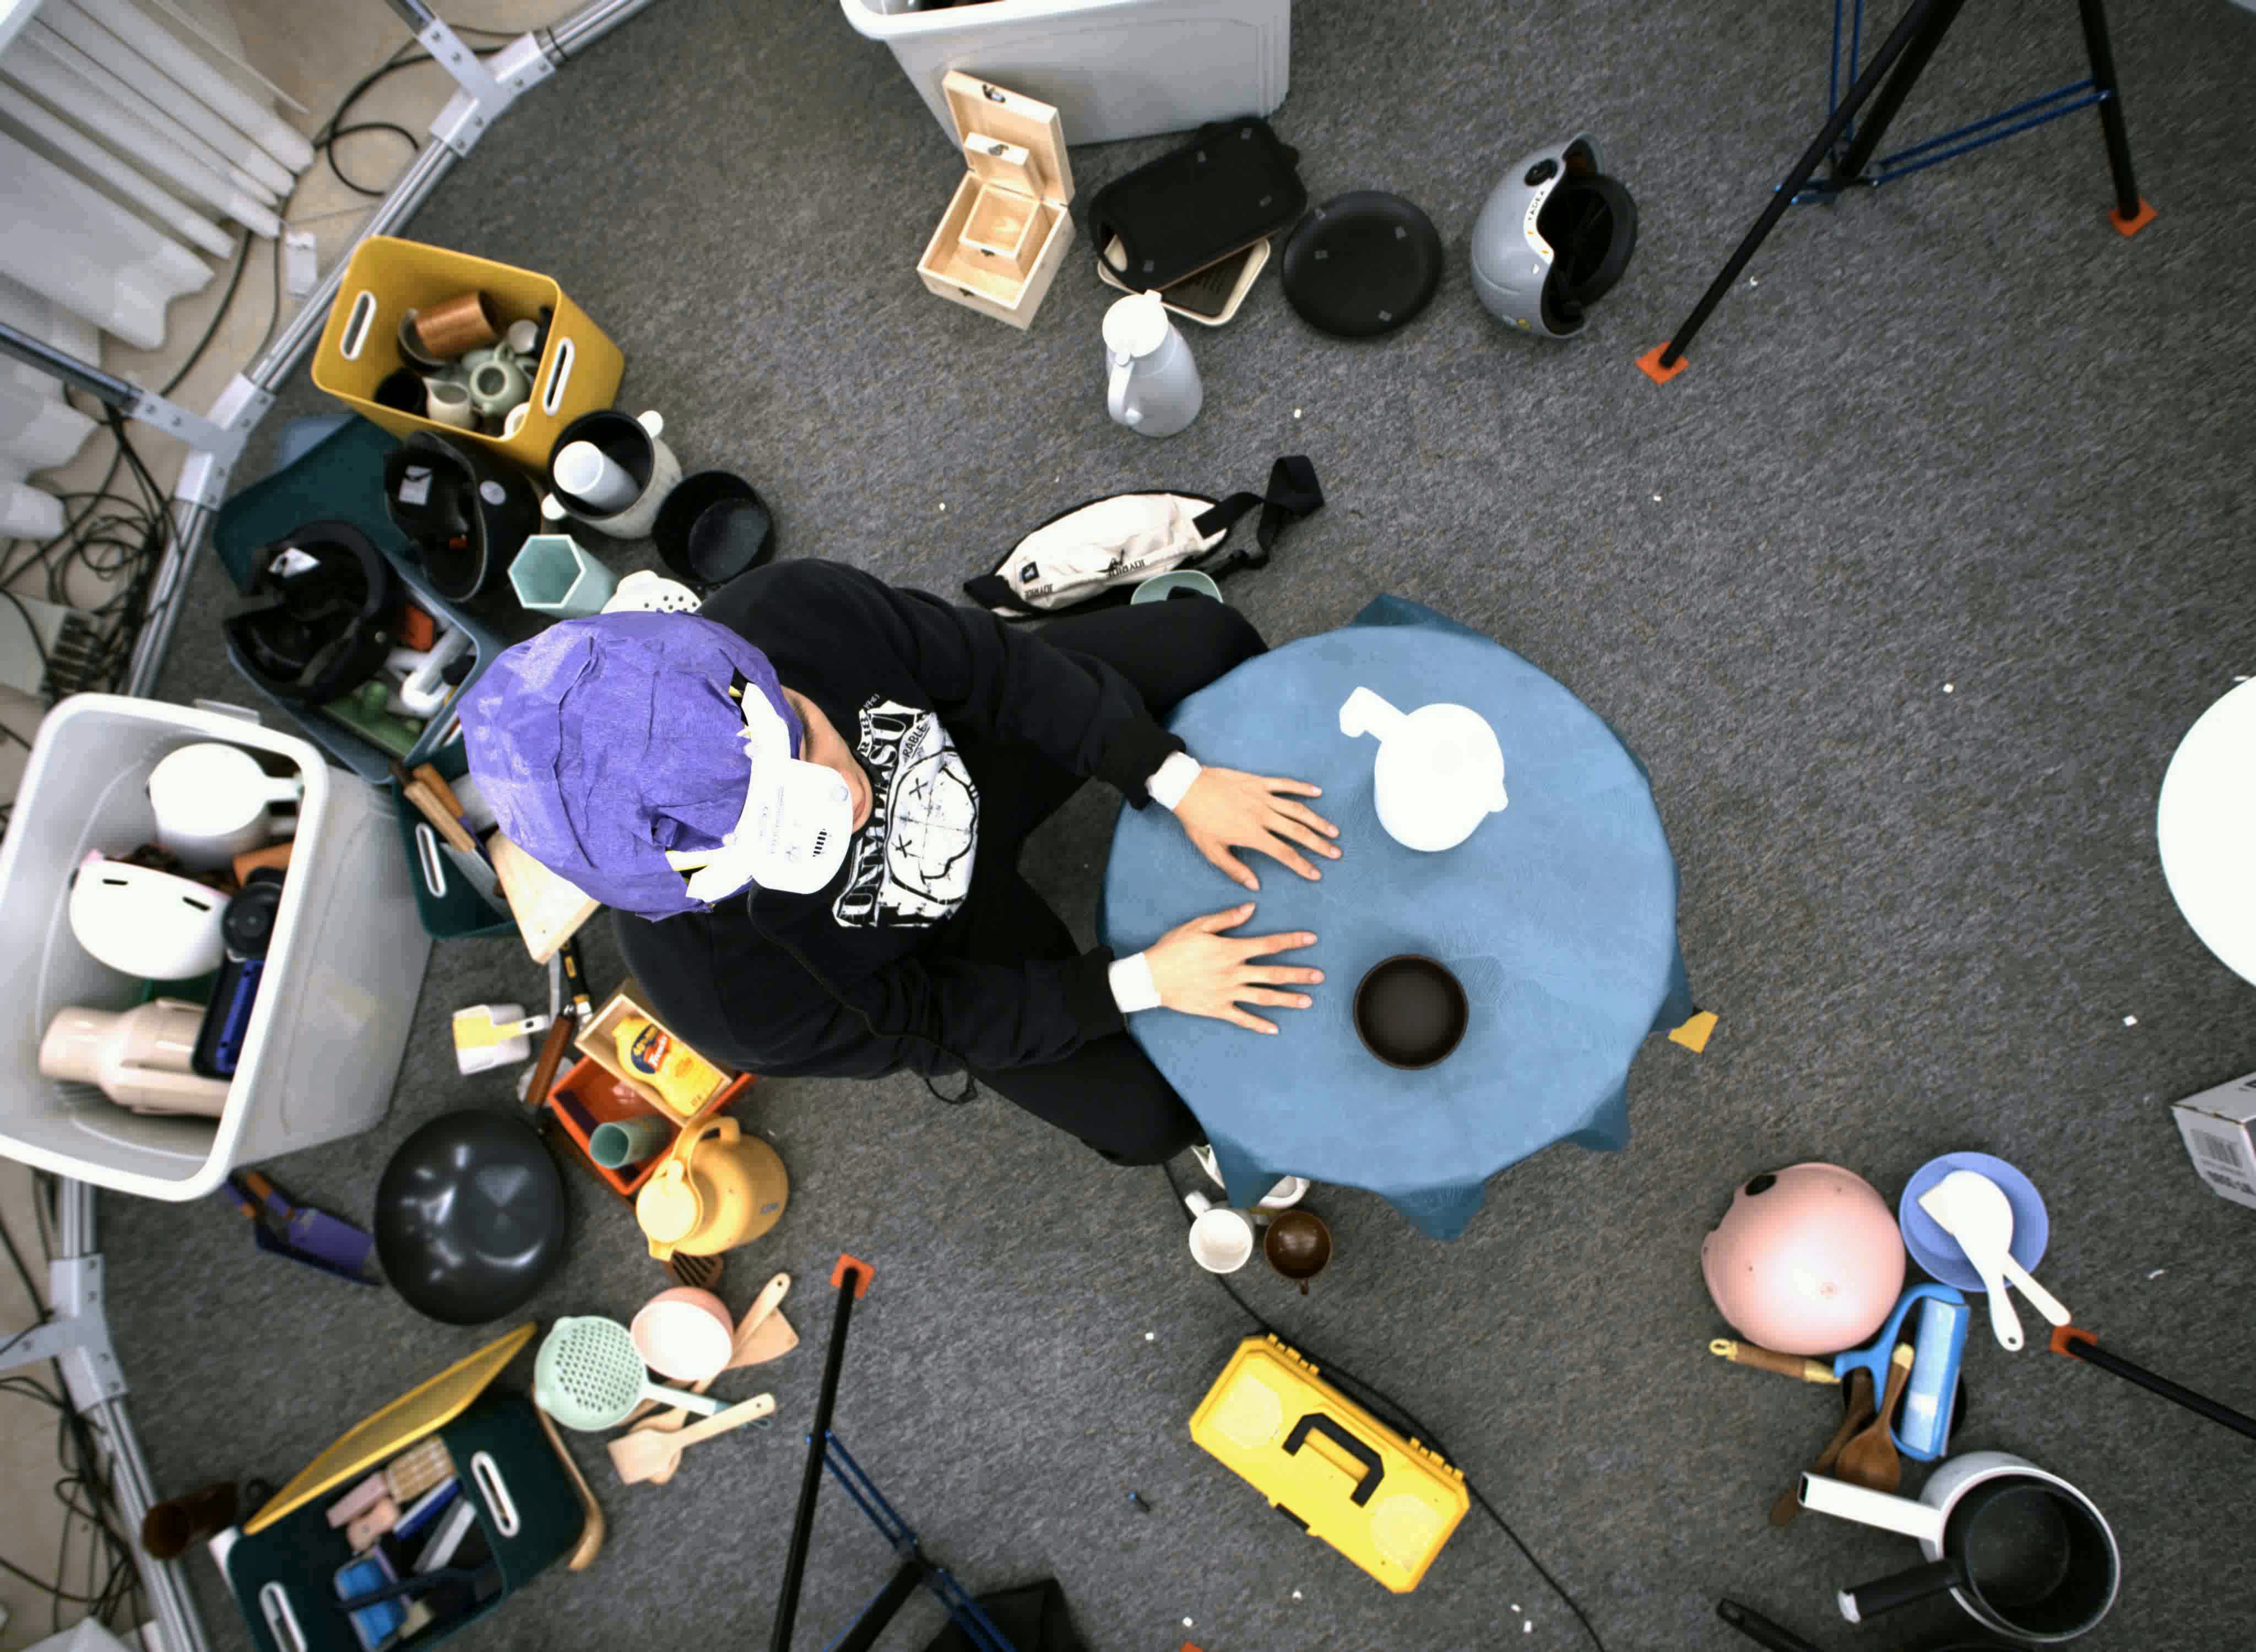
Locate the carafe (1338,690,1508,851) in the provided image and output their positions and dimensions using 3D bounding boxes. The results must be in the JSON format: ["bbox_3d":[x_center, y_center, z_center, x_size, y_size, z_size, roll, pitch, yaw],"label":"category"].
[{"bbox_3d":[0.281,-0.055,1.330,0.172,0.268,0.124,36,94,11],"label":"carafe"}]

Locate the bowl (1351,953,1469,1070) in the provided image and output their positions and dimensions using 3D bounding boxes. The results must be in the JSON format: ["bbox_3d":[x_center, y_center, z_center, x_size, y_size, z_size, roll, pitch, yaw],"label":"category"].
[{"bbox_3d":[0.287,0.188,1.415,0.118,0.070,0.117,-1,87,9],"label":"bowl"}]
